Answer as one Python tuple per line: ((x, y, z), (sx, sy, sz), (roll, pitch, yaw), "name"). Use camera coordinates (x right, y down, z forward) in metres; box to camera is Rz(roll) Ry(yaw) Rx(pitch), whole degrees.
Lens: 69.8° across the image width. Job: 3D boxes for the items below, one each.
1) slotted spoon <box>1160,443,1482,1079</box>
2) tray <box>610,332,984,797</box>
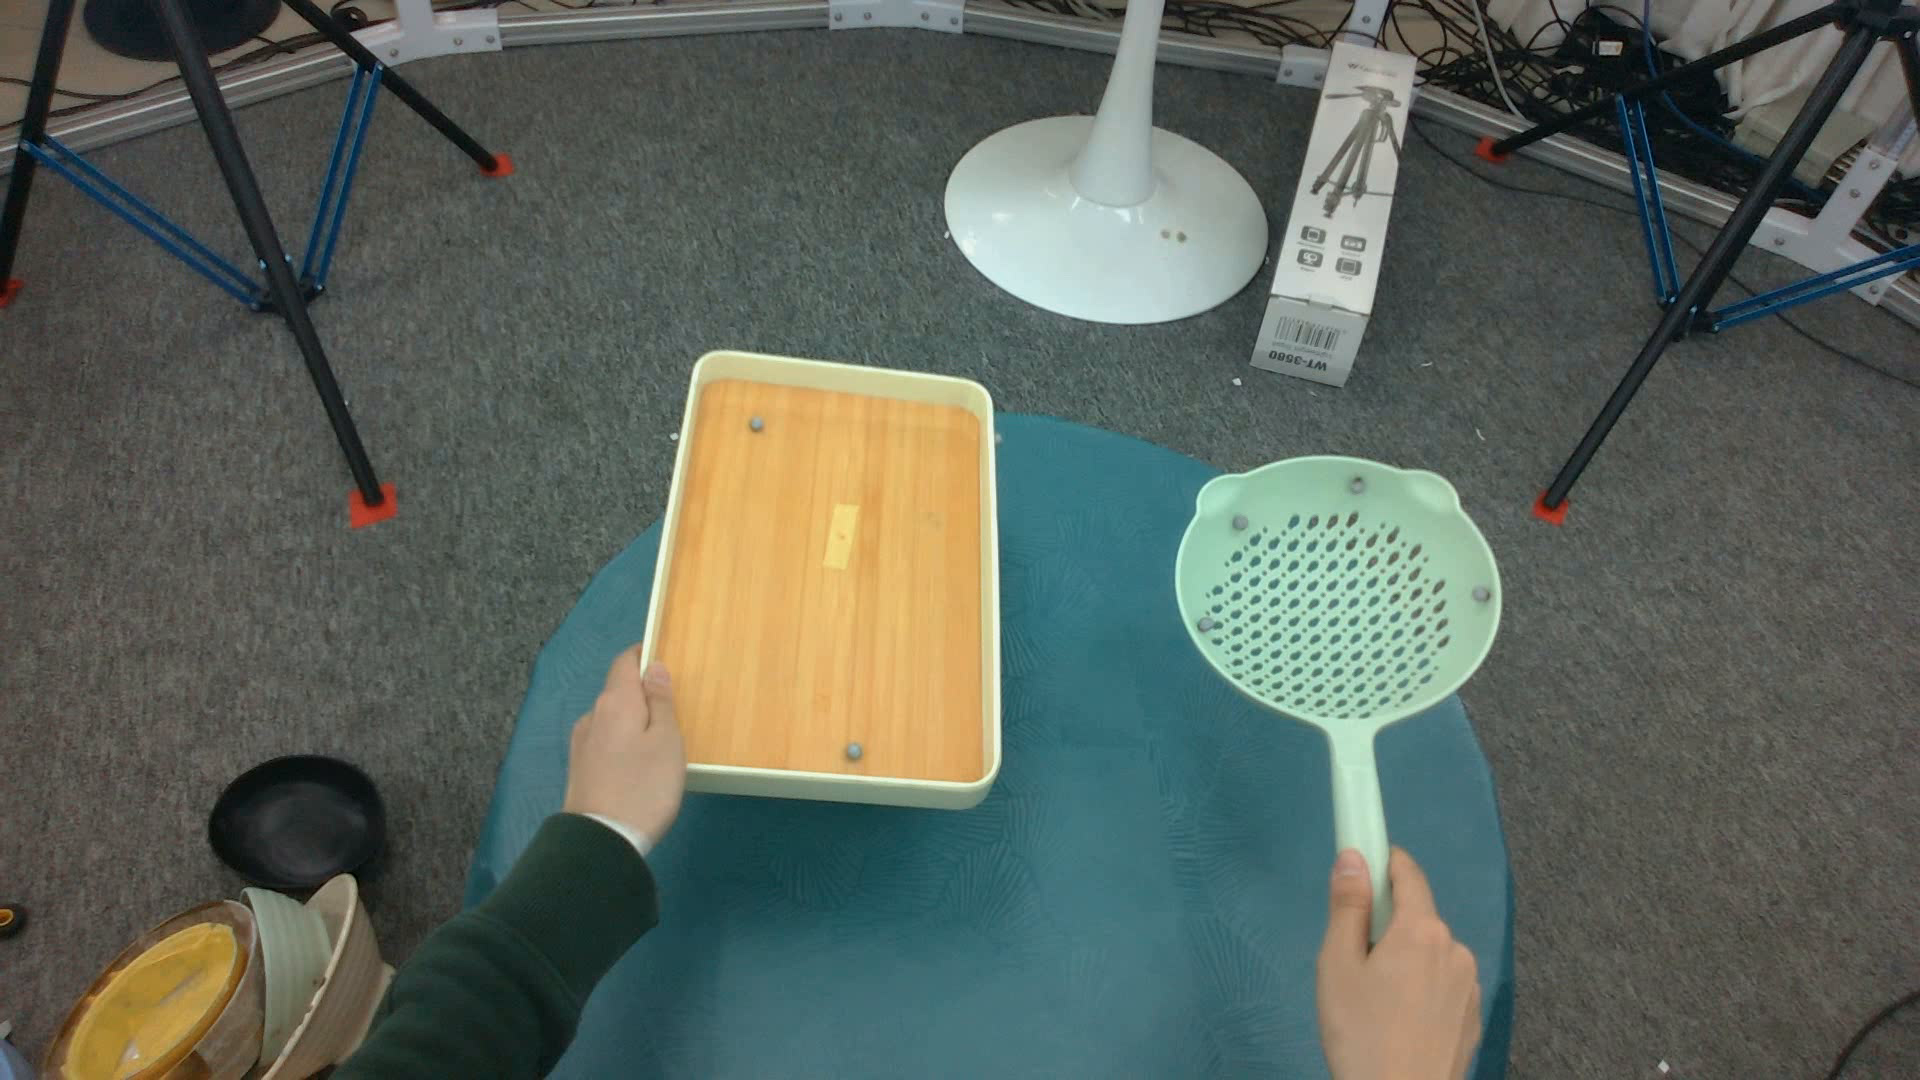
((0.189, 0.102, 0.698), (0.169, 0.075, 0.360), (-1, 48, 8), "slotted spoon")
((-0.084, 0.002, 0.788), (0.192, 0.027, 0.301), (6, 51, -8), "tray")
